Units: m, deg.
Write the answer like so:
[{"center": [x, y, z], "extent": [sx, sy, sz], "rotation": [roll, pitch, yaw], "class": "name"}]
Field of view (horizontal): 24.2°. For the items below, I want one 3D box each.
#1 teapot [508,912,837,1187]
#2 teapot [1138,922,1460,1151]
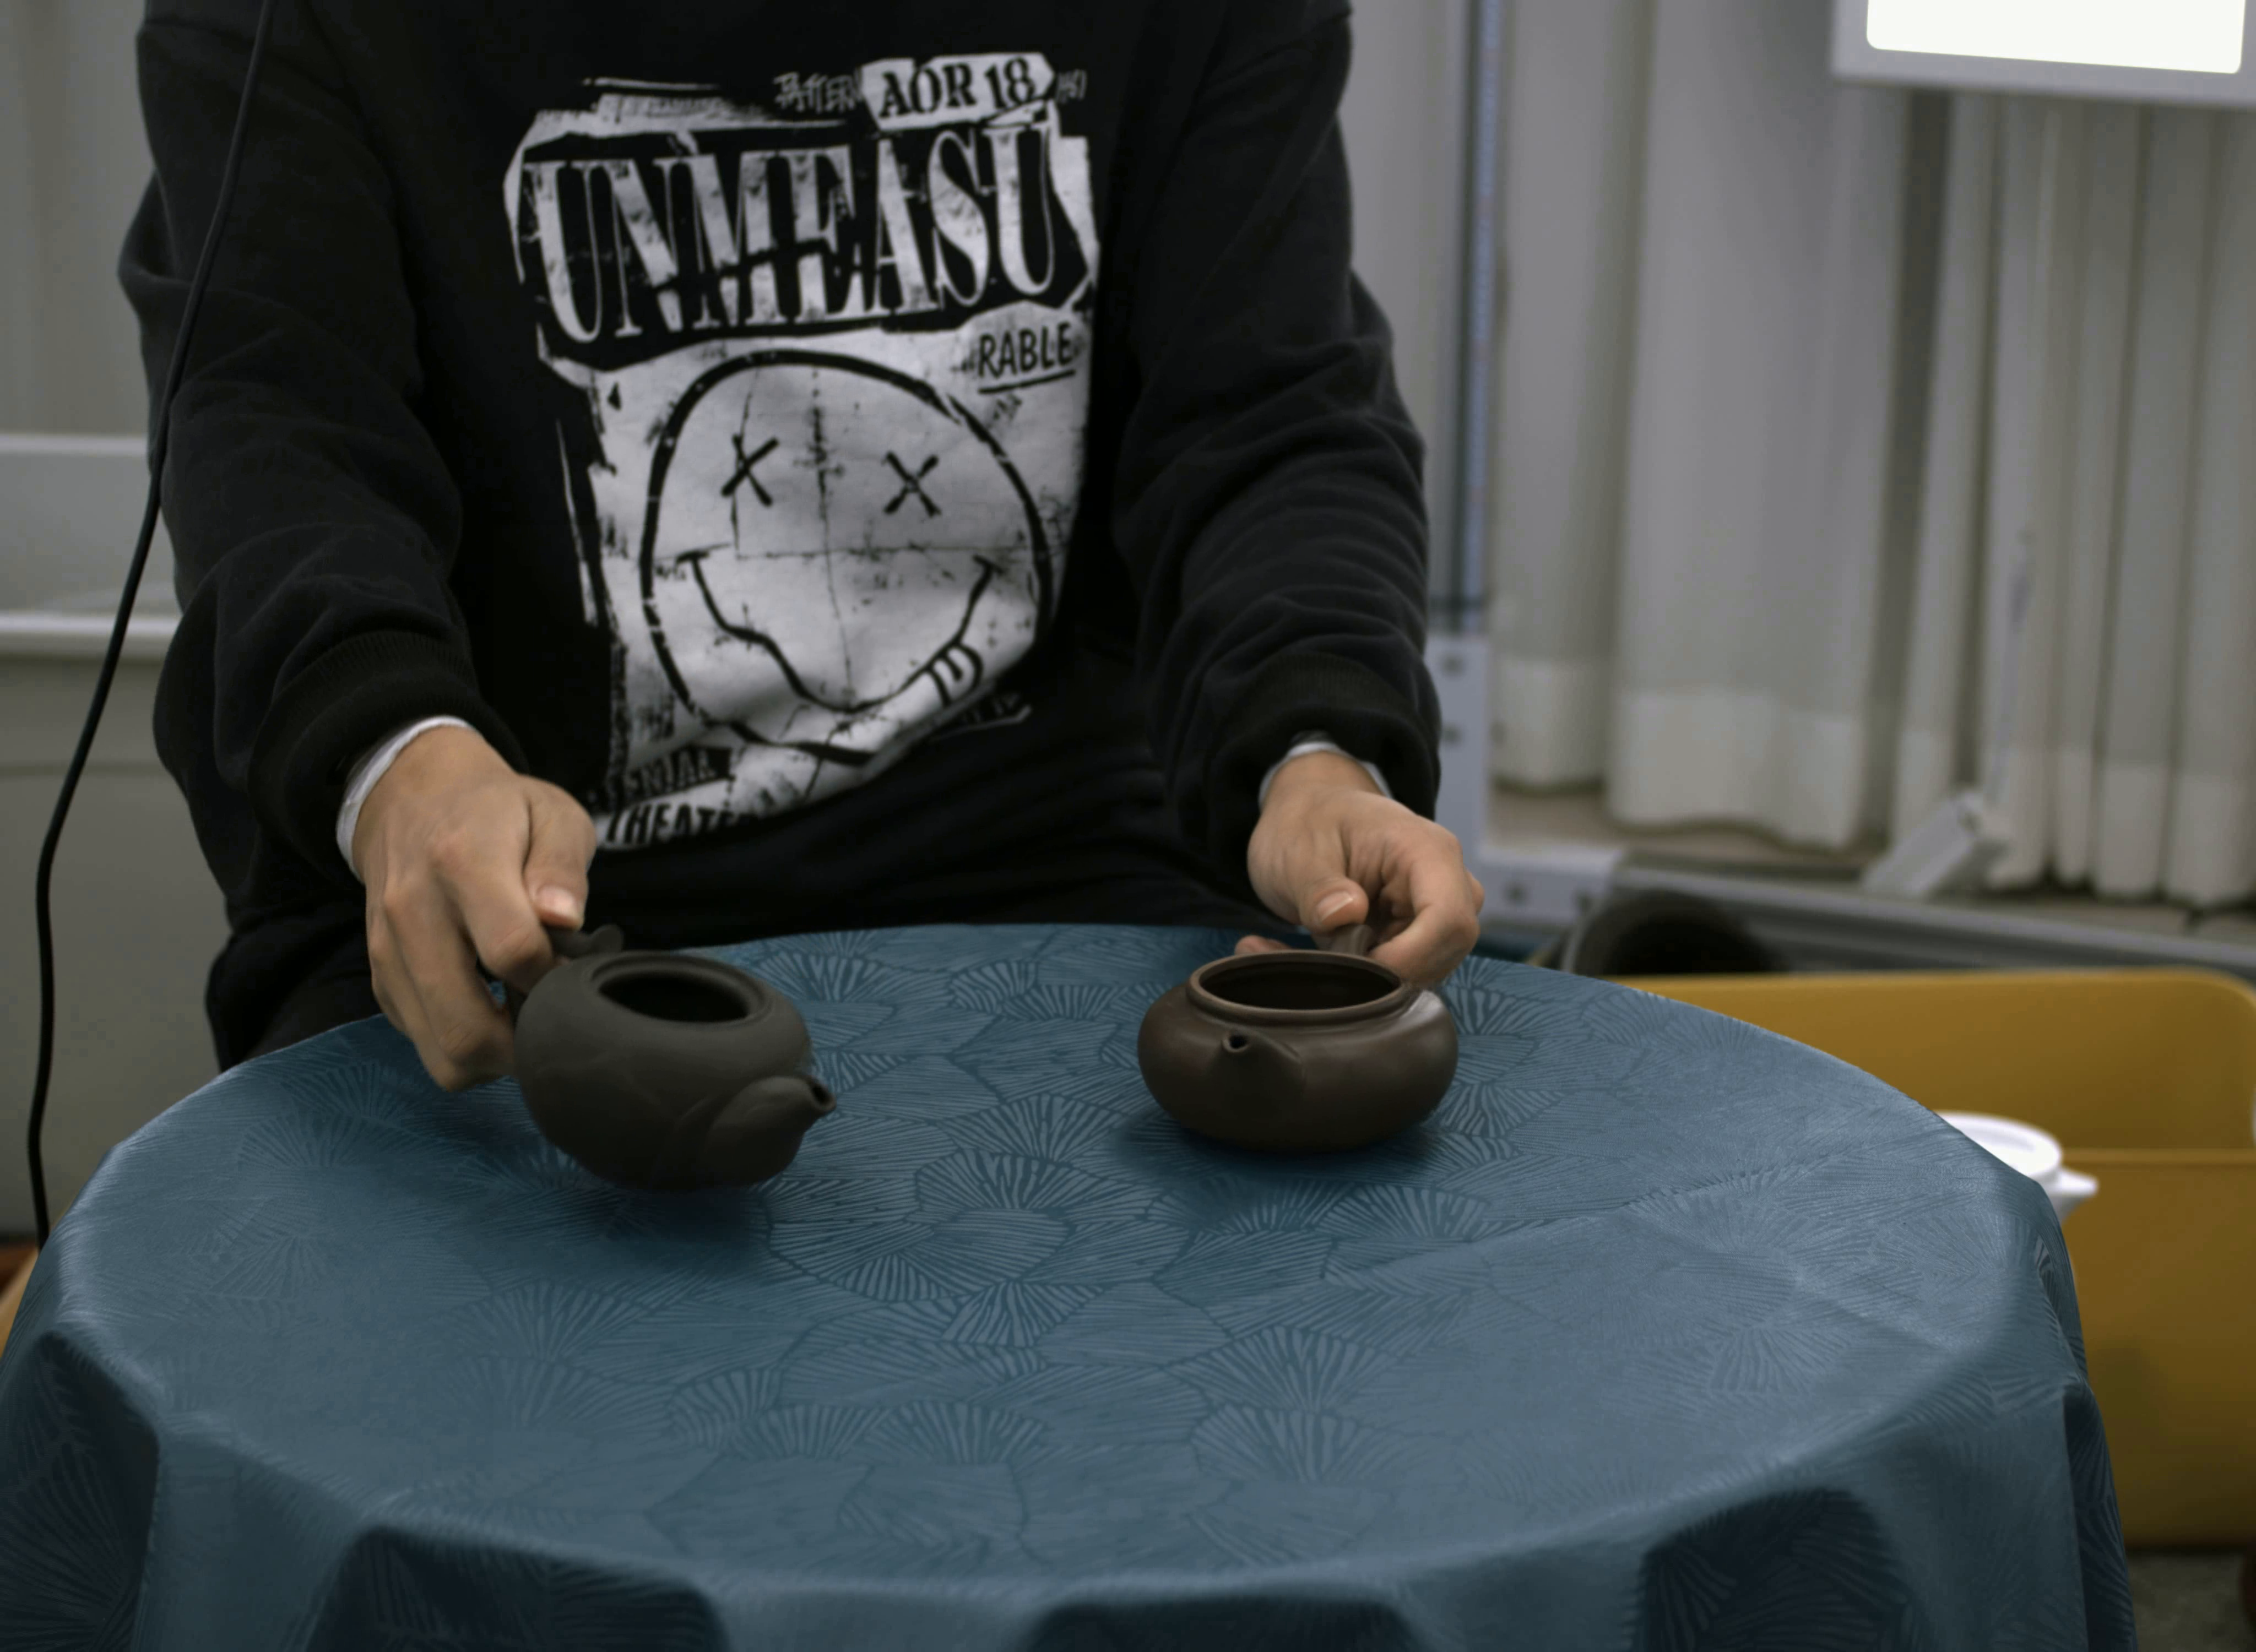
[{"center": [-0.142, 0.070, 1.603], "extent": [0.093, 0.065, 0.152], "rotation": [-5, 25, -44], "class": "teapot"}, {"center": [0.055, 0.068, 1.682], "extent": [0.102, 0.054, 0.153], "rotation": [5, 17, 10], "class": "teapot"}]
